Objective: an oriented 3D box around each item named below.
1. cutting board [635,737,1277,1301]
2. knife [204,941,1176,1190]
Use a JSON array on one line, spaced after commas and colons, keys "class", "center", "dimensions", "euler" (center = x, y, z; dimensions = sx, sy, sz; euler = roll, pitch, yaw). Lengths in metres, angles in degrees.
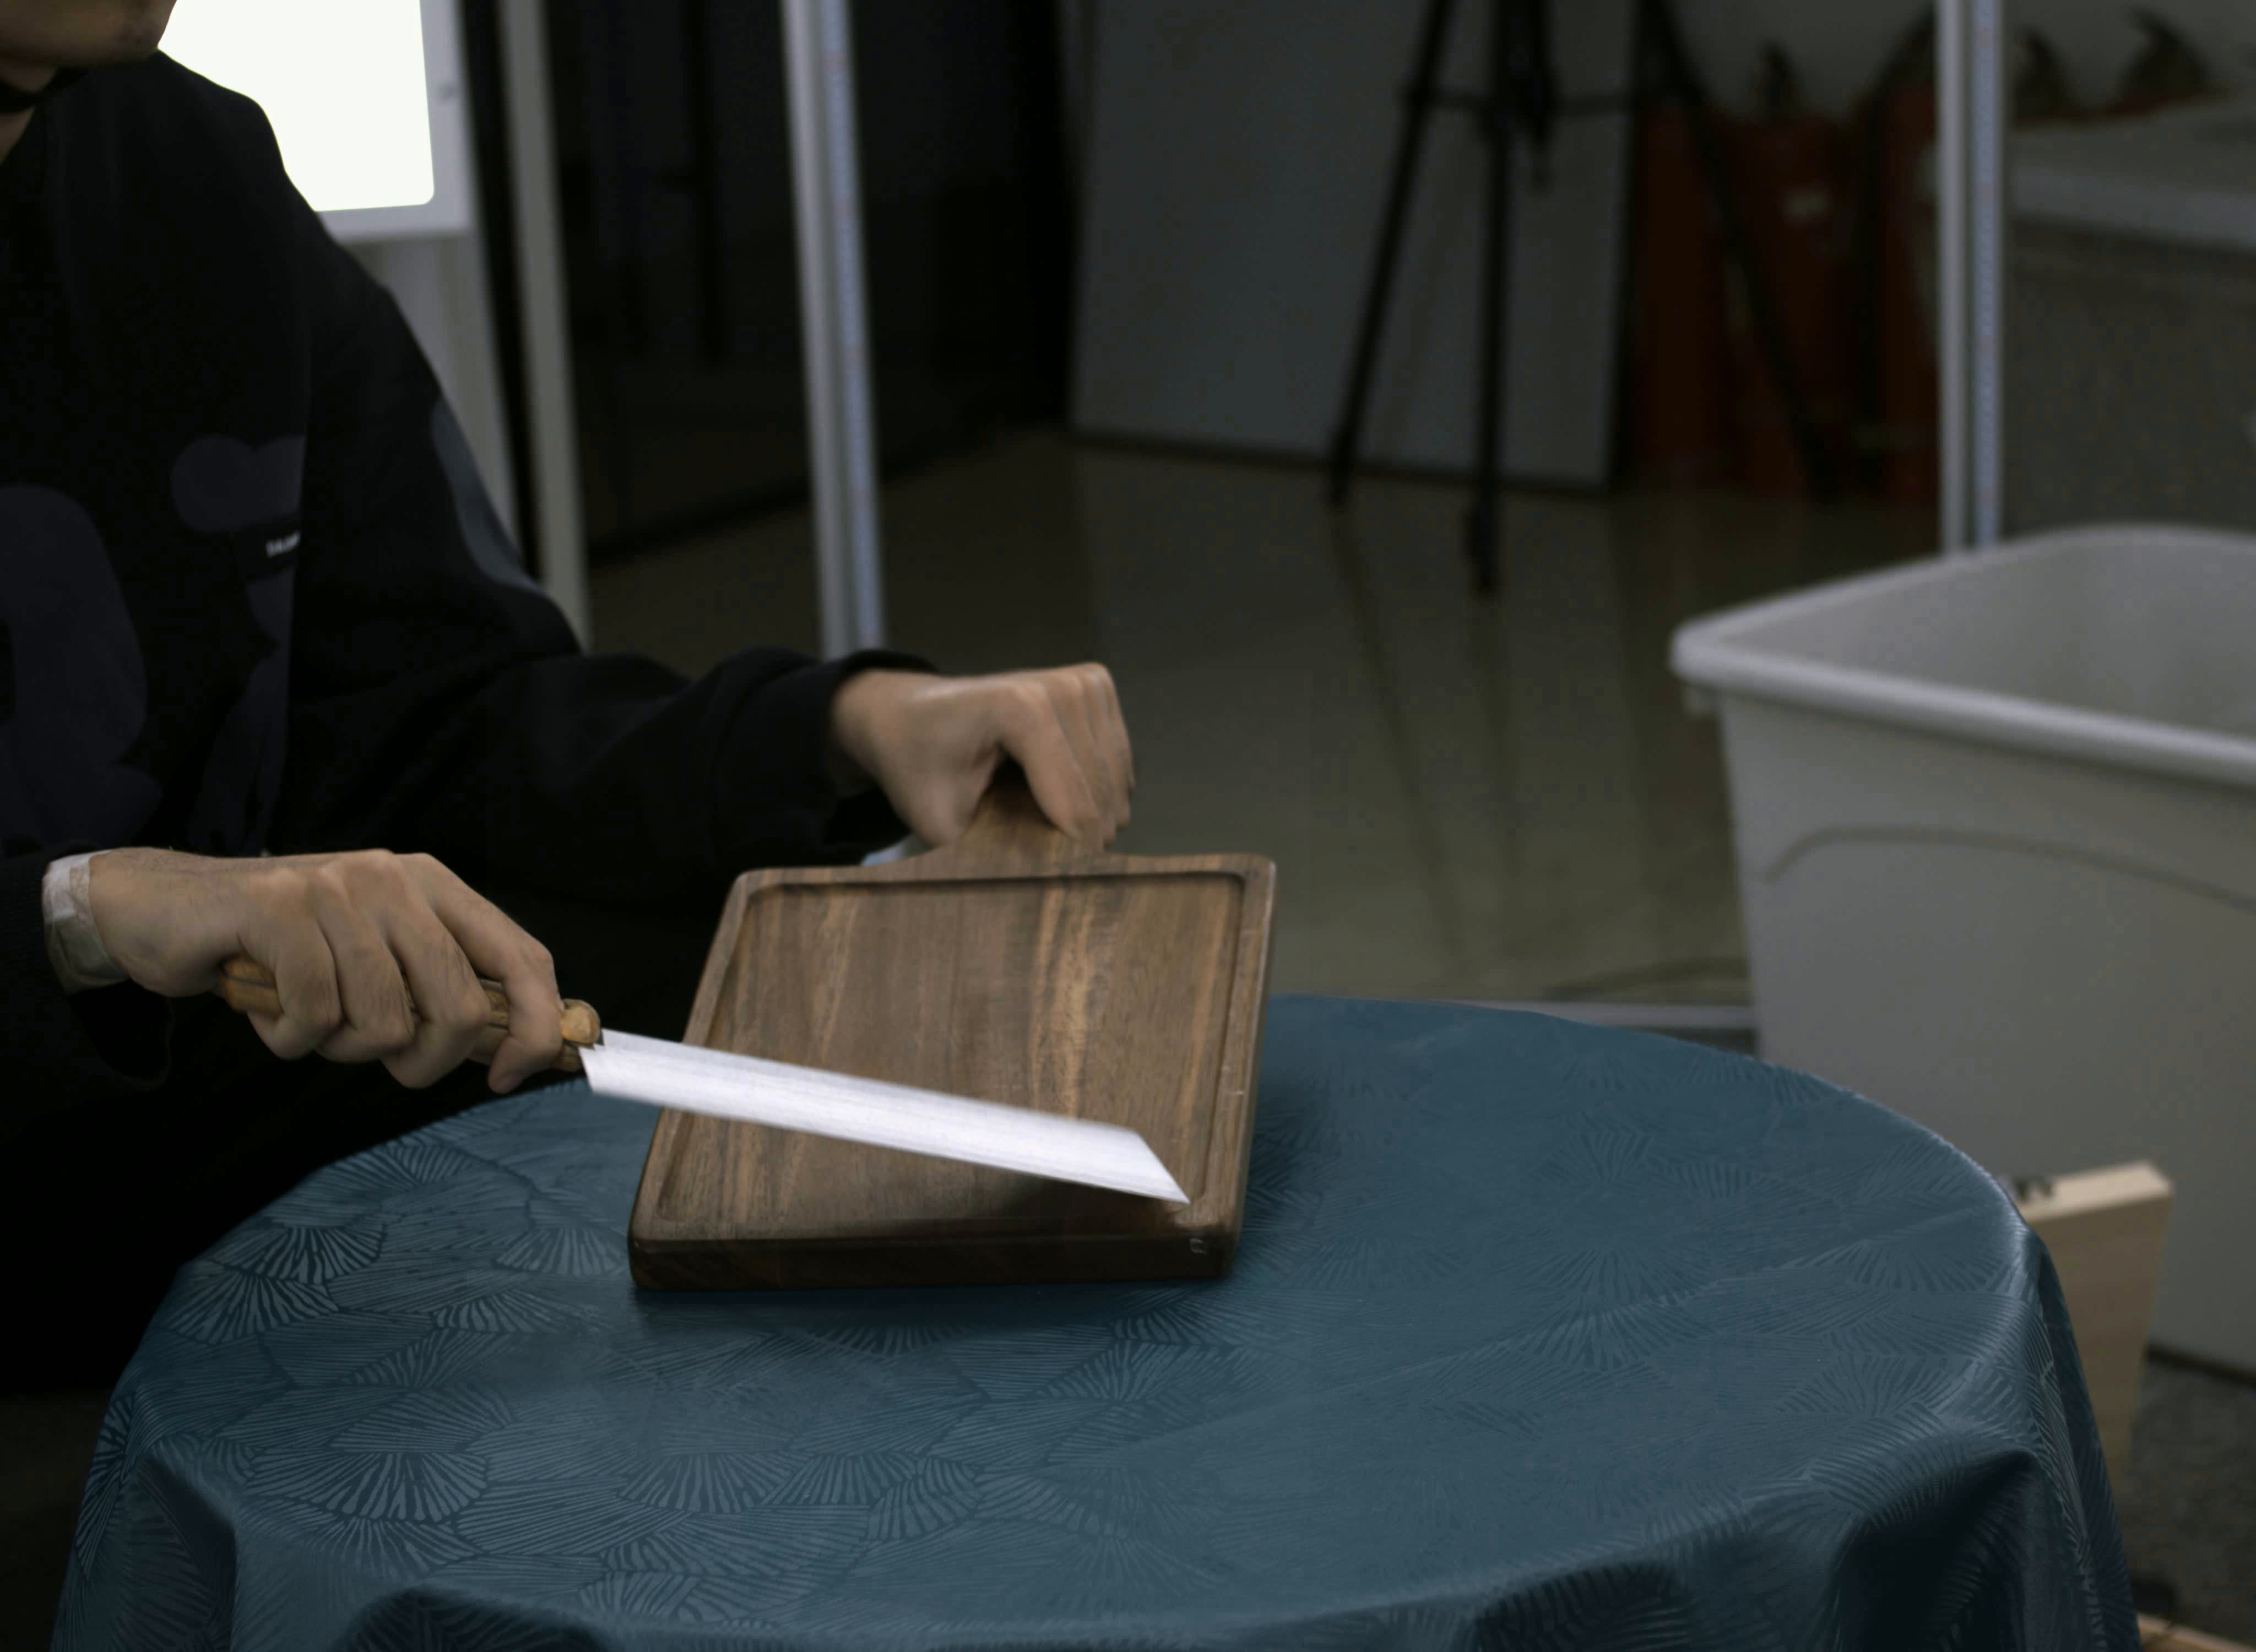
[{"class": "cutting board", "center": [-0.048, 0.057, 1.837], "dimensions": [0.199, 0.023, 0.353], "euler": [-3, 27, 6]}, {"class": "knife", "center": [-0.132, 0.078, 1.665], "dimensions": [0.300, 0.021, 0.093], "euler": [11, 11, -13]}]
